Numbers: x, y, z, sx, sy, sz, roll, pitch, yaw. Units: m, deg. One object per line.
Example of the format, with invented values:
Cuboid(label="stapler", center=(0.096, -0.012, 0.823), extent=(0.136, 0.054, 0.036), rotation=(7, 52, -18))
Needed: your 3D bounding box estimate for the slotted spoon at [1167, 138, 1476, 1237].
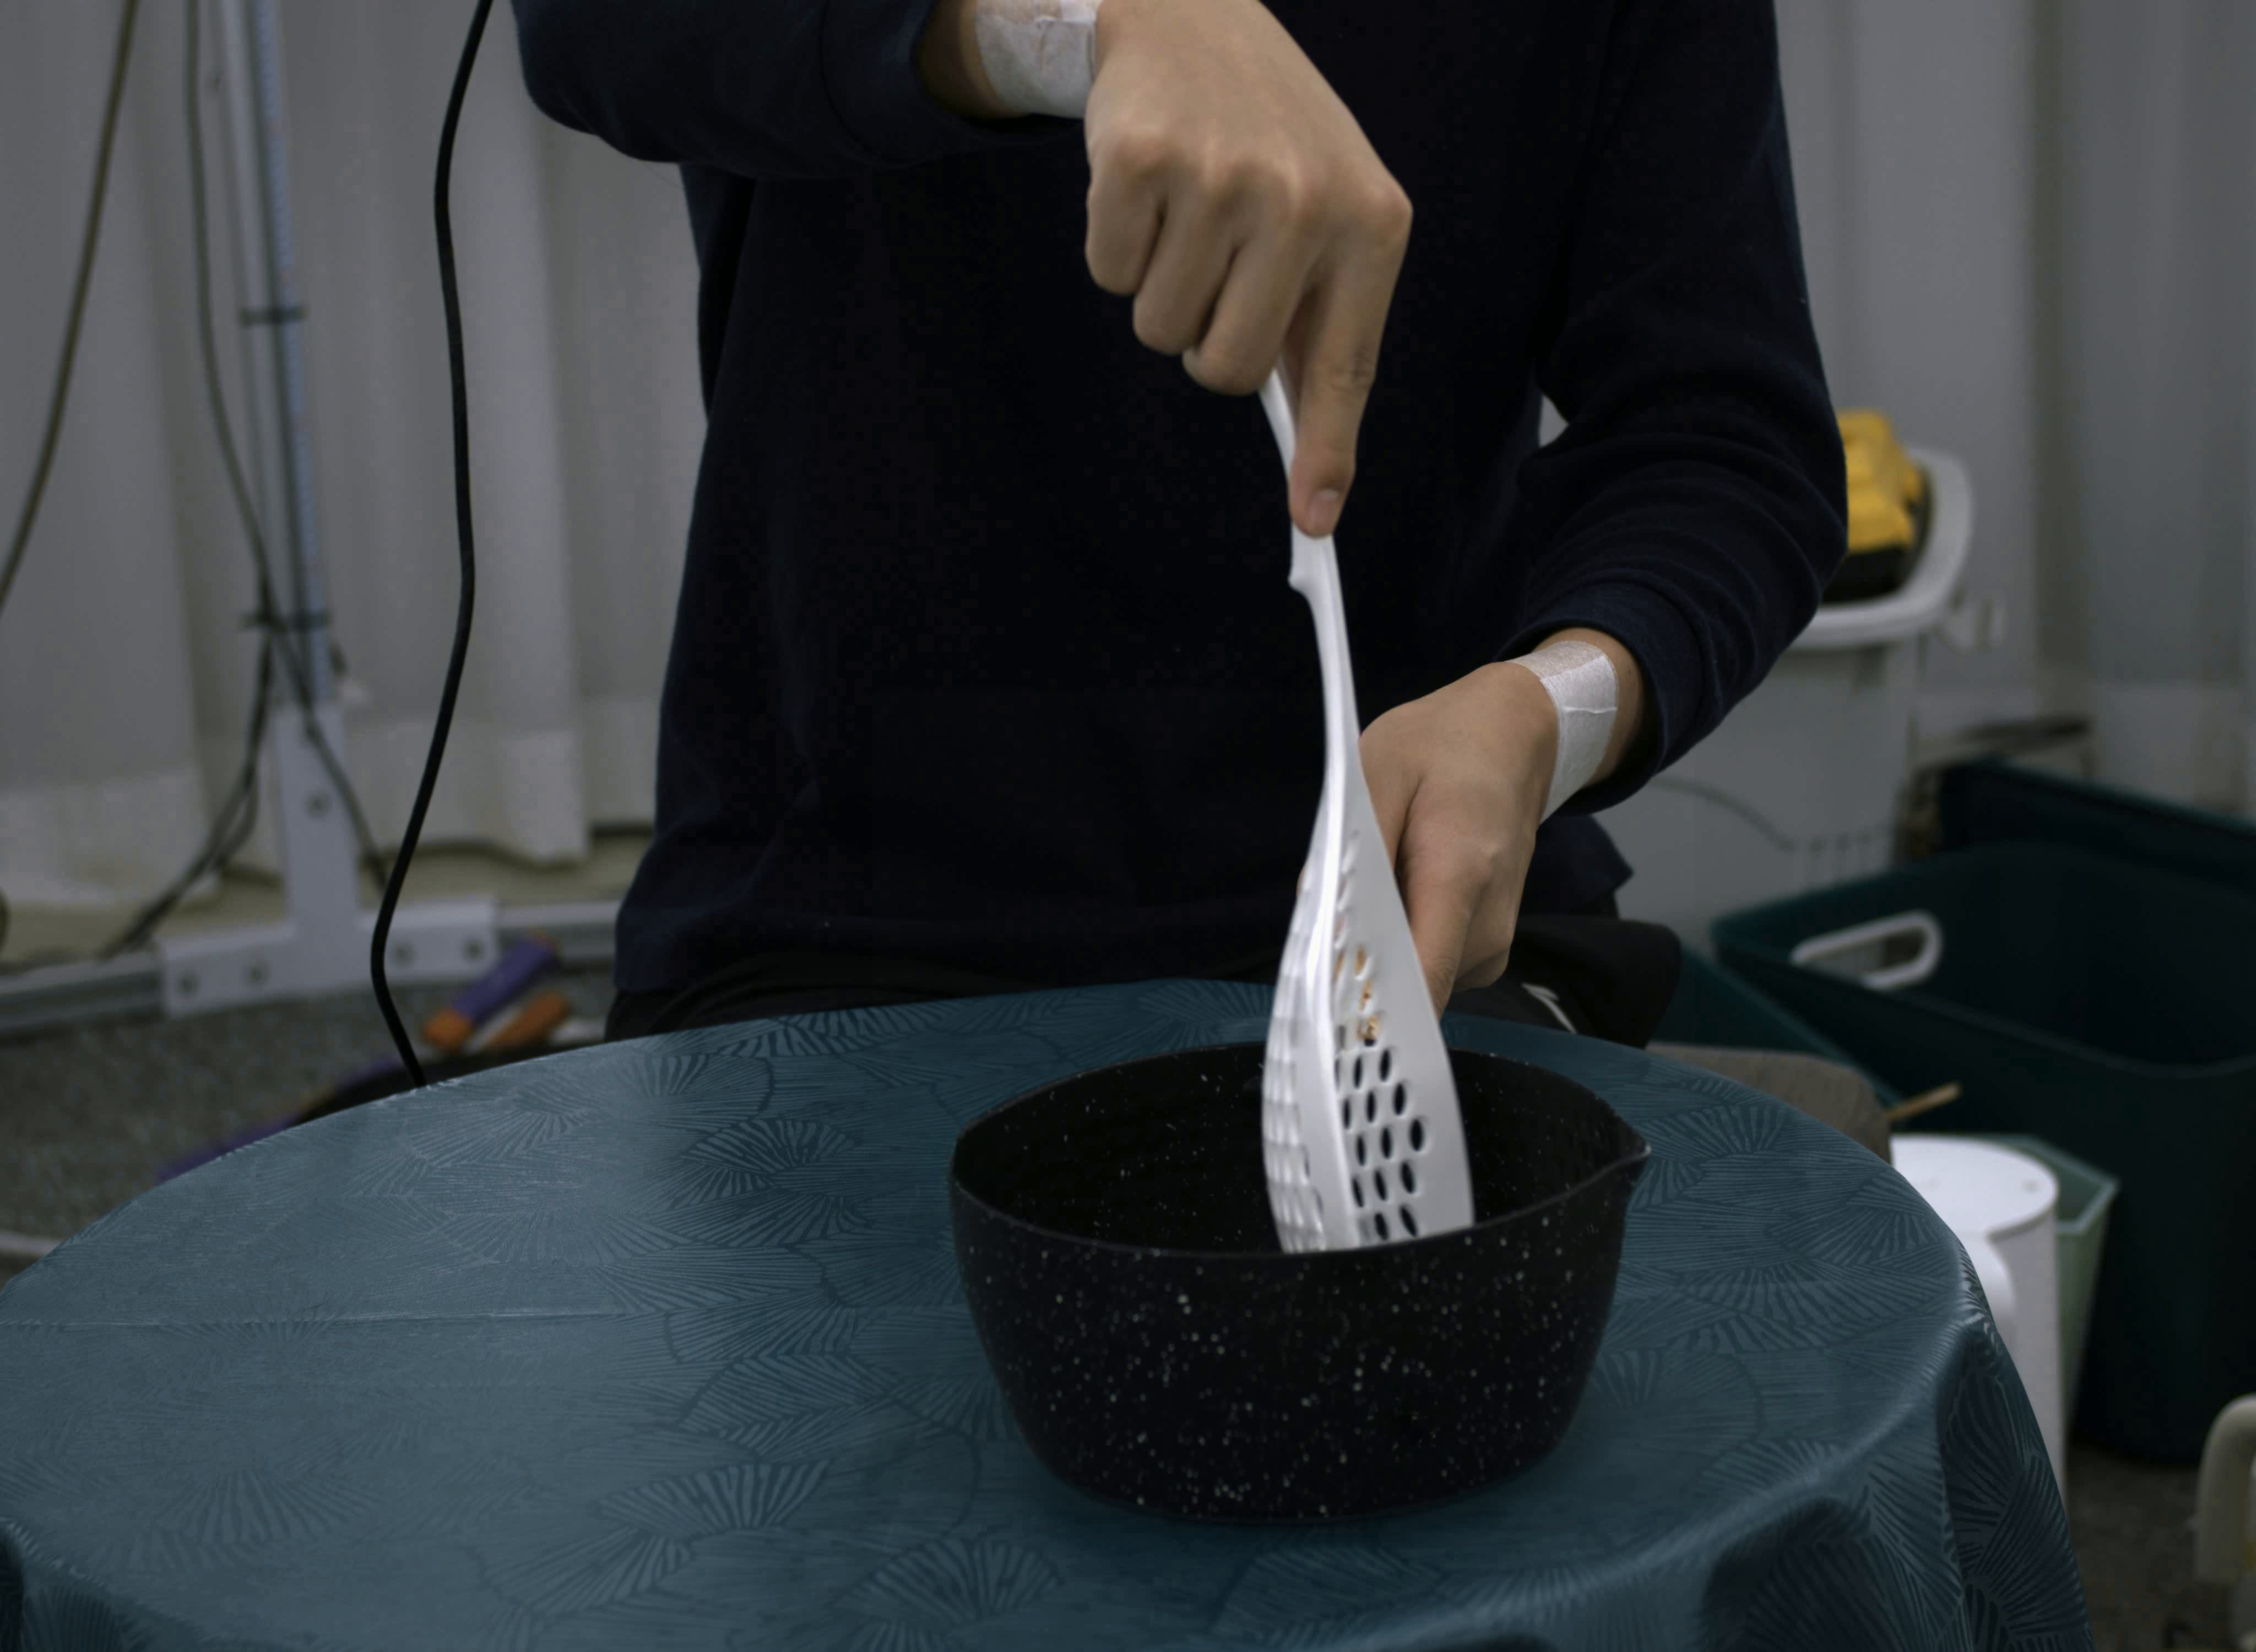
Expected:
Cuboid(label="slotted spoon", center=(0.050, -0.014, 1.491), extent=(0.050, 0.348, 0.137), rotation=(-3, 6, 16))

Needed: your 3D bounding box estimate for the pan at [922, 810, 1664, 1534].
Cuboid(label="pan", center=(0.055, 0.094, 1.575), extent=(0.207, 0.108, 0.345), rotation=(-2, 16, 9))
